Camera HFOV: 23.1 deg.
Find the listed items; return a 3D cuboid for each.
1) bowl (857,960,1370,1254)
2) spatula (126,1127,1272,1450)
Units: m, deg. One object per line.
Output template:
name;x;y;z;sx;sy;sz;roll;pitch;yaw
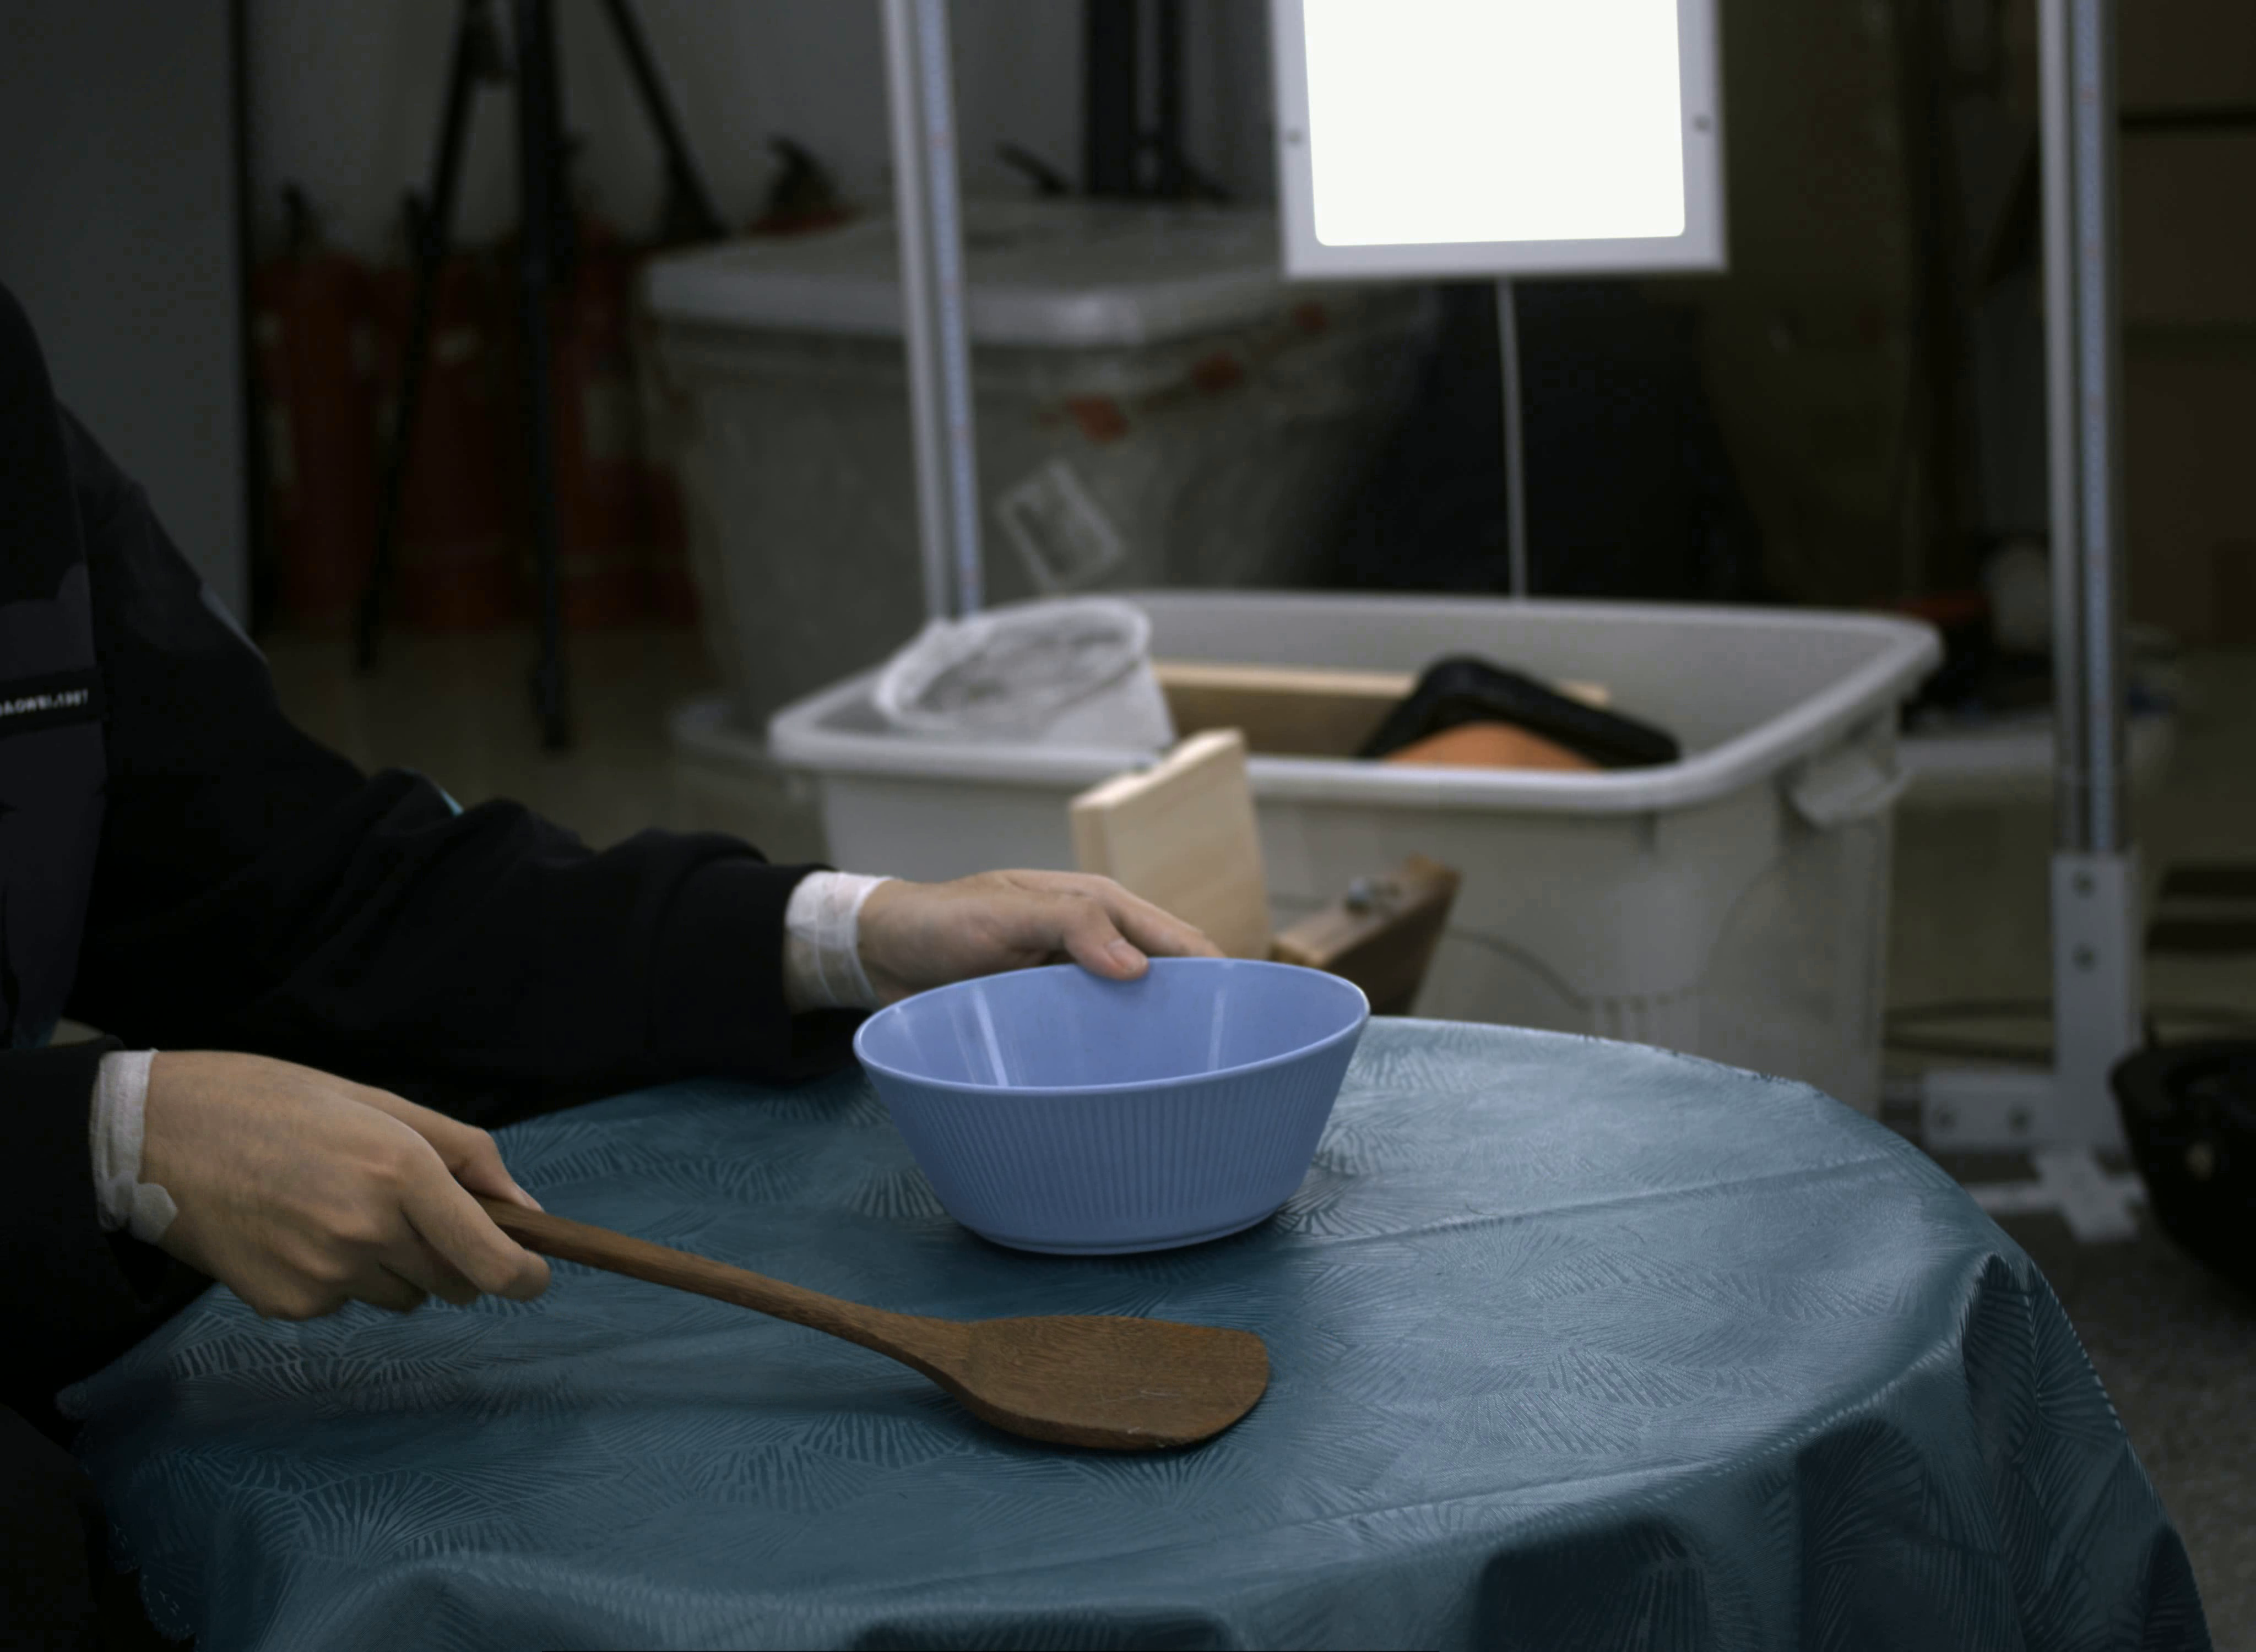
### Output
bowl;-0.002;0.097;1.865;0.175;0.070;0.176;-6;11;0
spatula;-0.141;0.140;1.733;0.390;0.016;0.094;12;19;17
